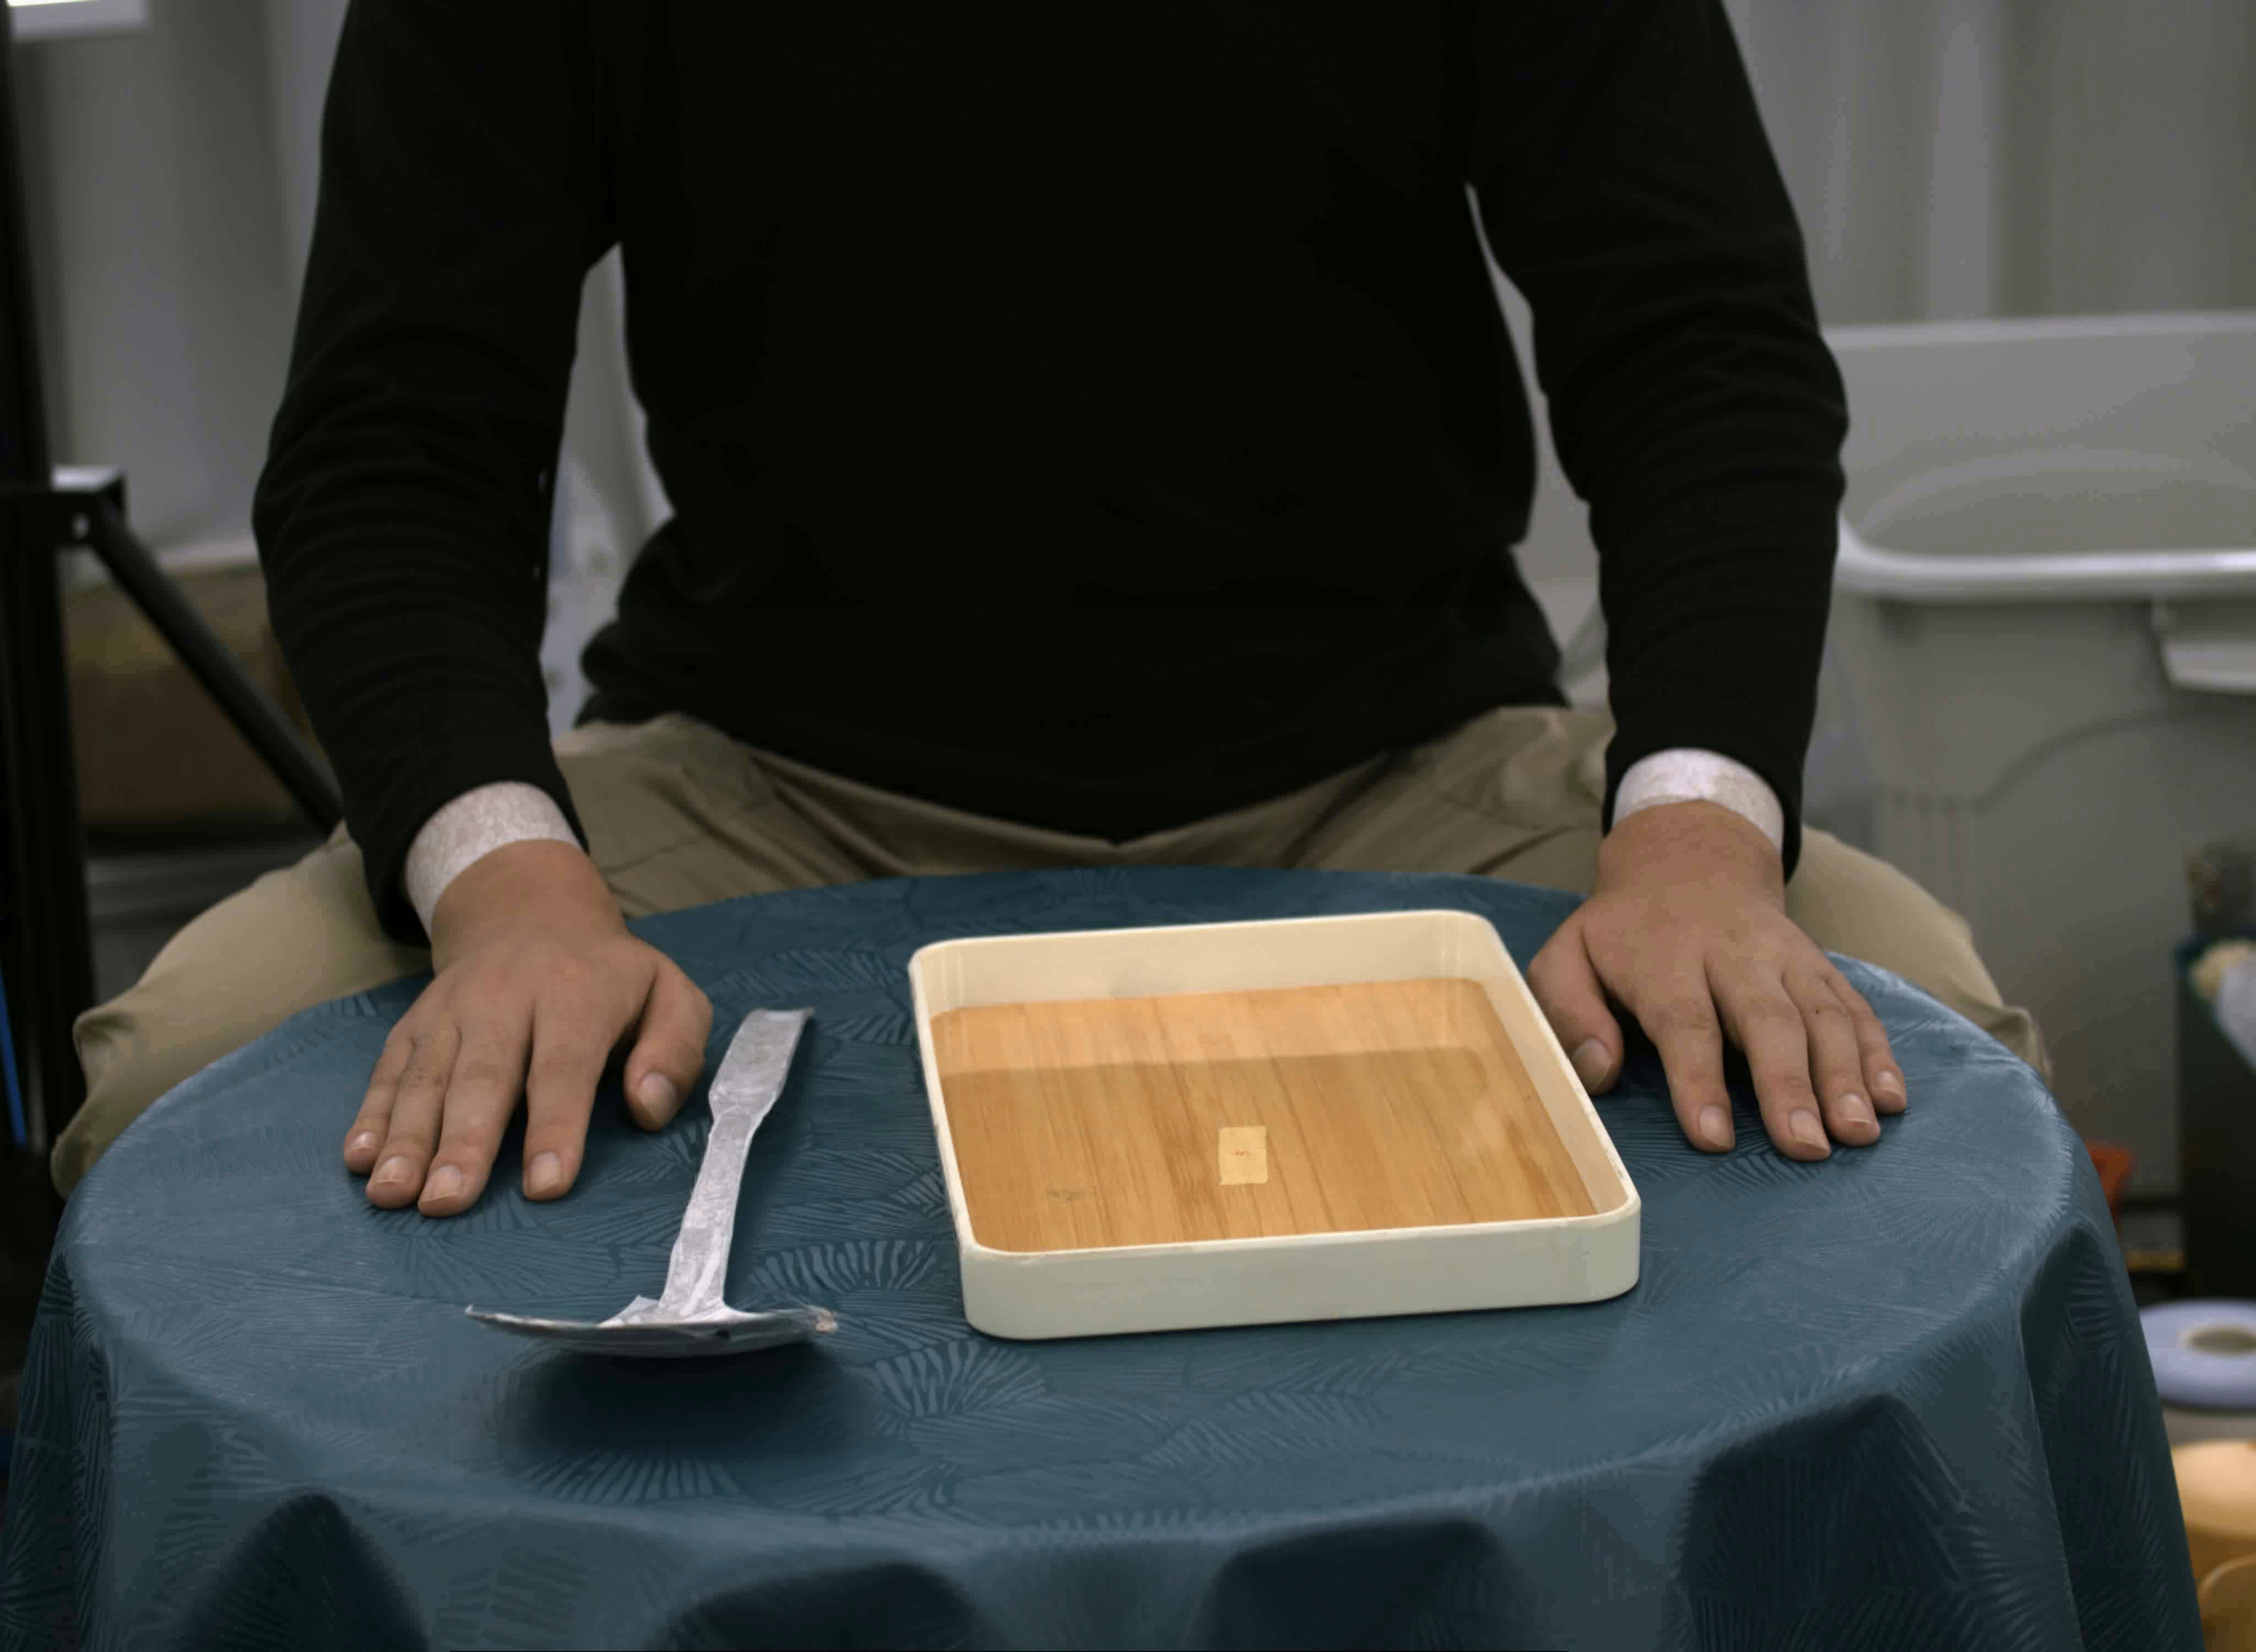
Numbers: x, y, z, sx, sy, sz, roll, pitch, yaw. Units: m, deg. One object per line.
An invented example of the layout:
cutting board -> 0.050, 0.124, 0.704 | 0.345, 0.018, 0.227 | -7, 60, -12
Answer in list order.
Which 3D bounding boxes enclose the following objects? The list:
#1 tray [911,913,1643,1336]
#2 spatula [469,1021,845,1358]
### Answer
tray -> 0.037, 0.085, 1.584 | 0.190, 0.027, 0.302 | -4, 16, -3
spatula -> -0.116, 0.096, 1.547 | 0.098, 0.045, 0.365 | -2, 16, 3
